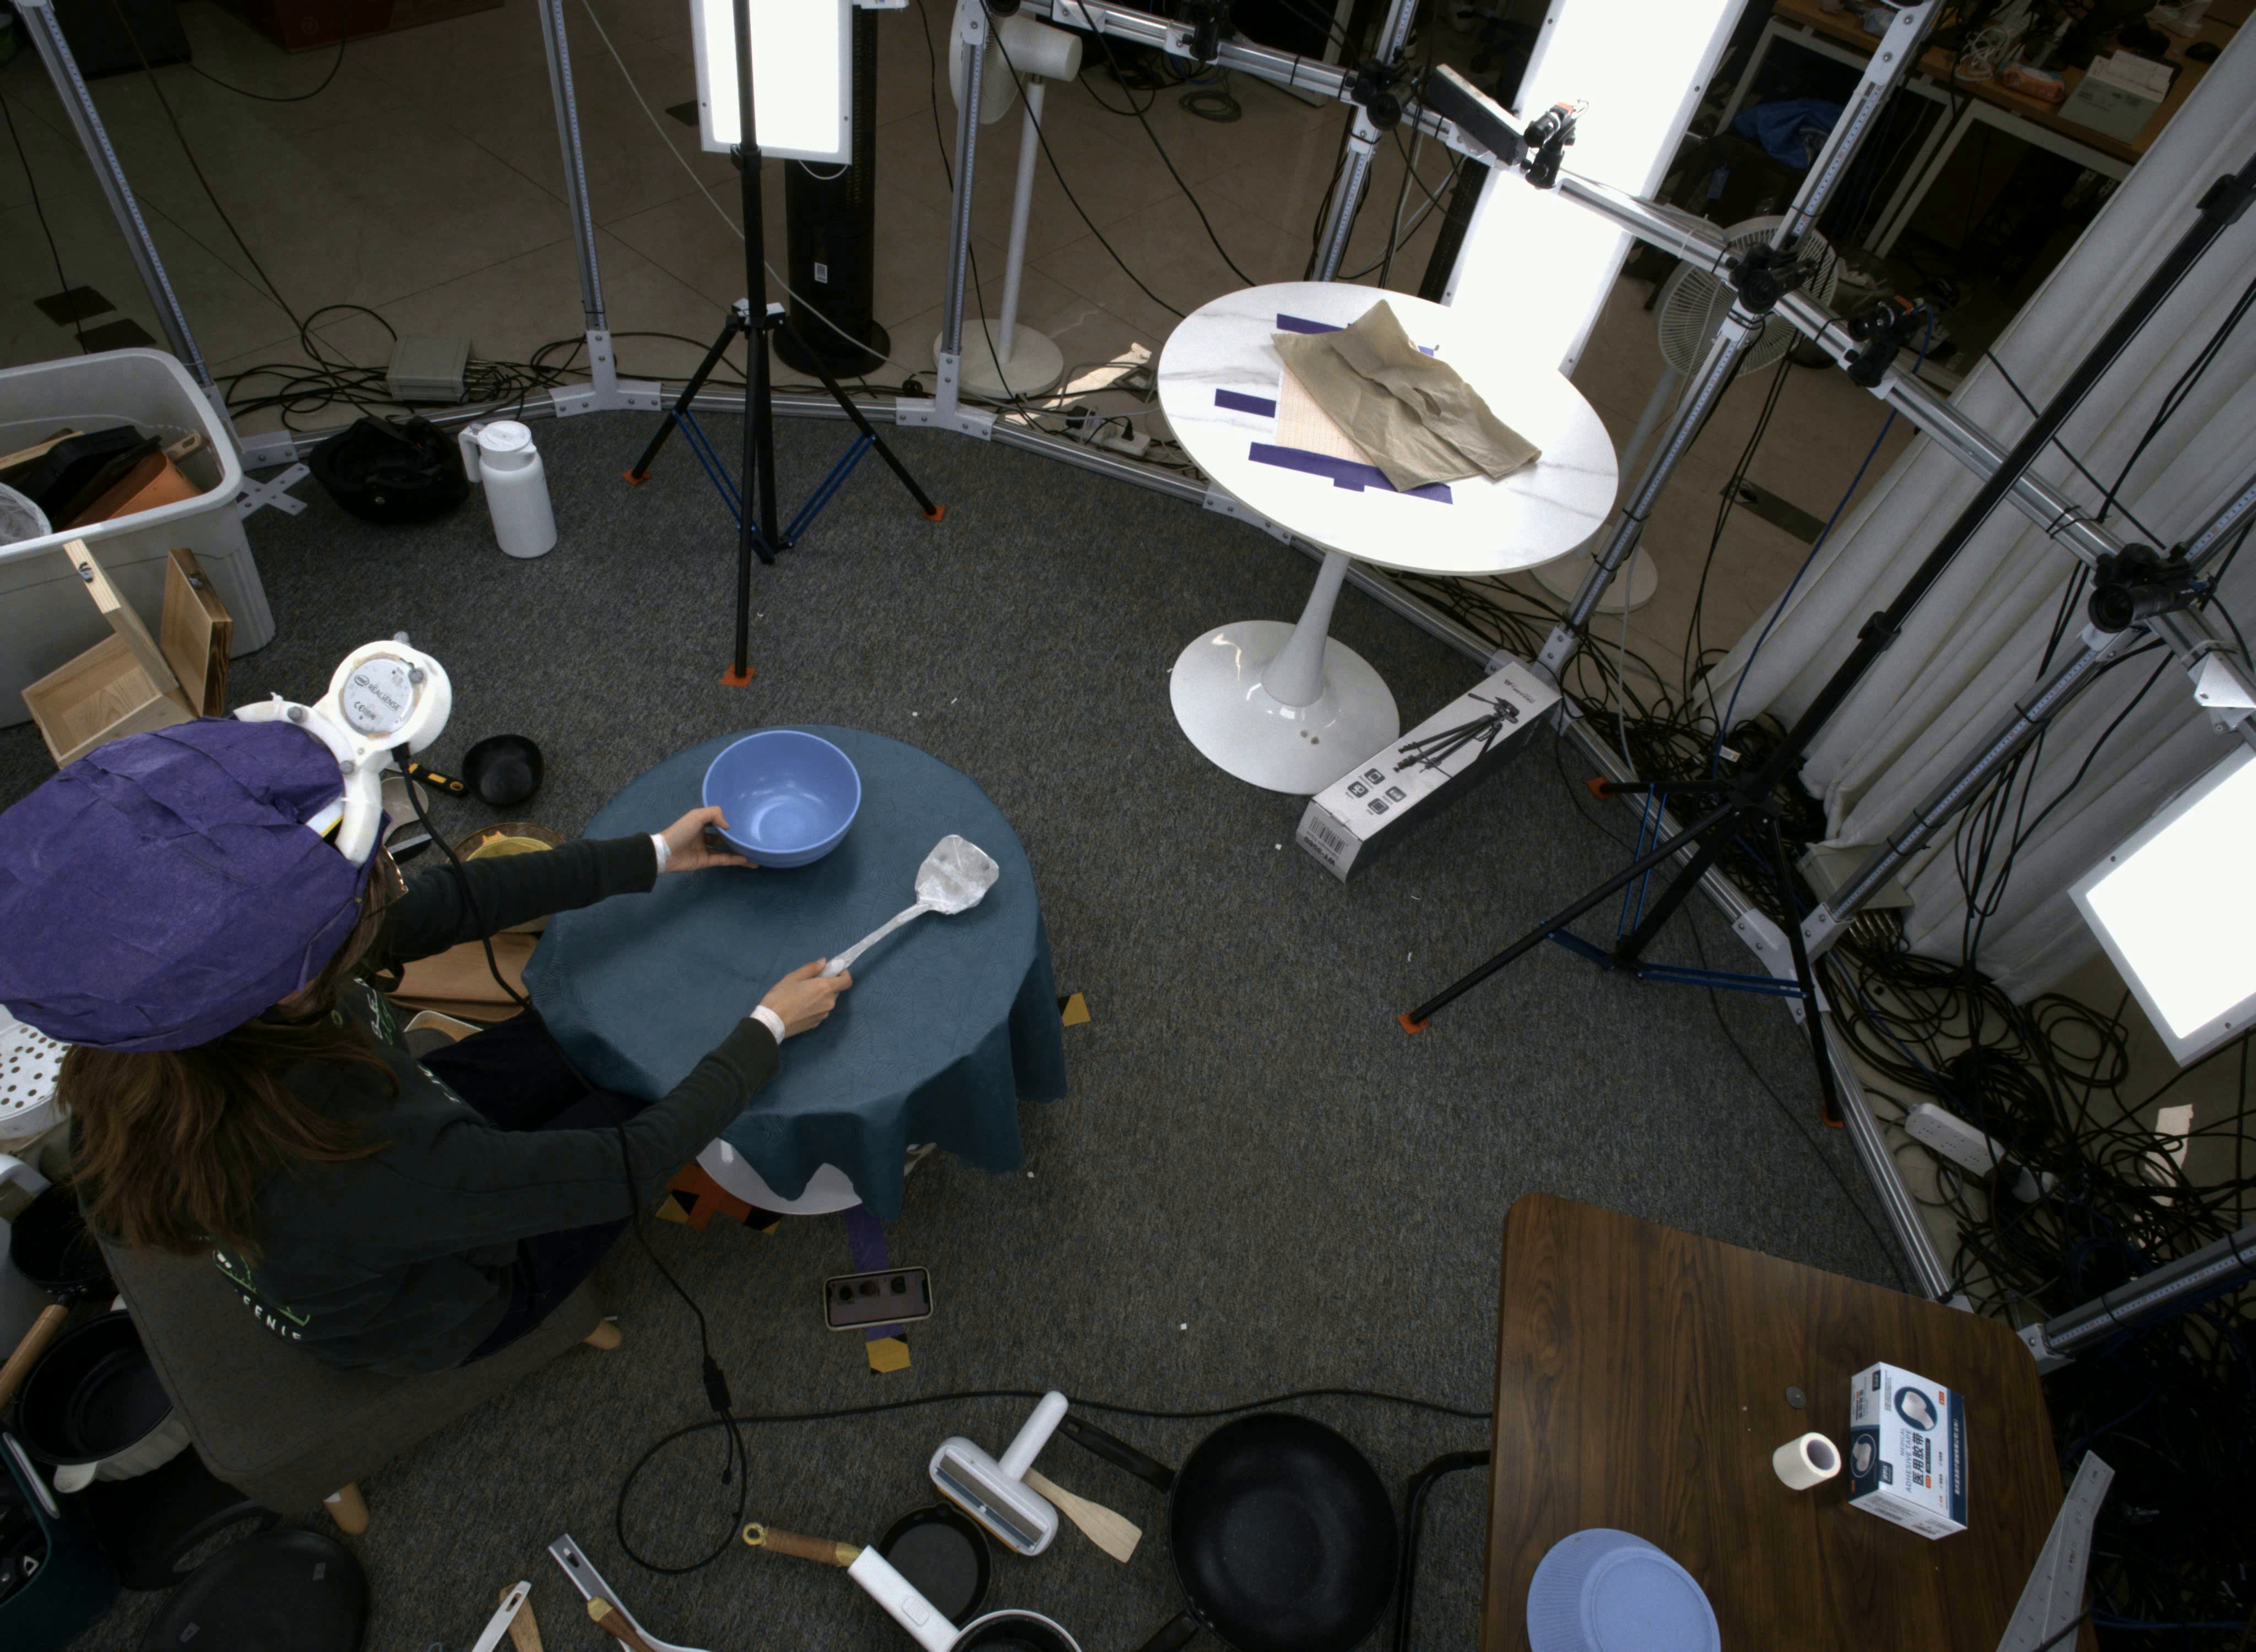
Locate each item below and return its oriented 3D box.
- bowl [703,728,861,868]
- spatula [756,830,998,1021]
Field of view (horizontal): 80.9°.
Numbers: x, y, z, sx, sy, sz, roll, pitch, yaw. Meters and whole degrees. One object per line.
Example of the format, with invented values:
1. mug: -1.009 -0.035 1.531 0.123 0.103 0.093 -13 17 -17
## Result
1. bowl: -0.446 -0.021 1.676 0.196 0.097 0.193 9 53 -10
2. spatula: -0.312 0.127 1.615 0.096 0.046 0.365 38 51 18
